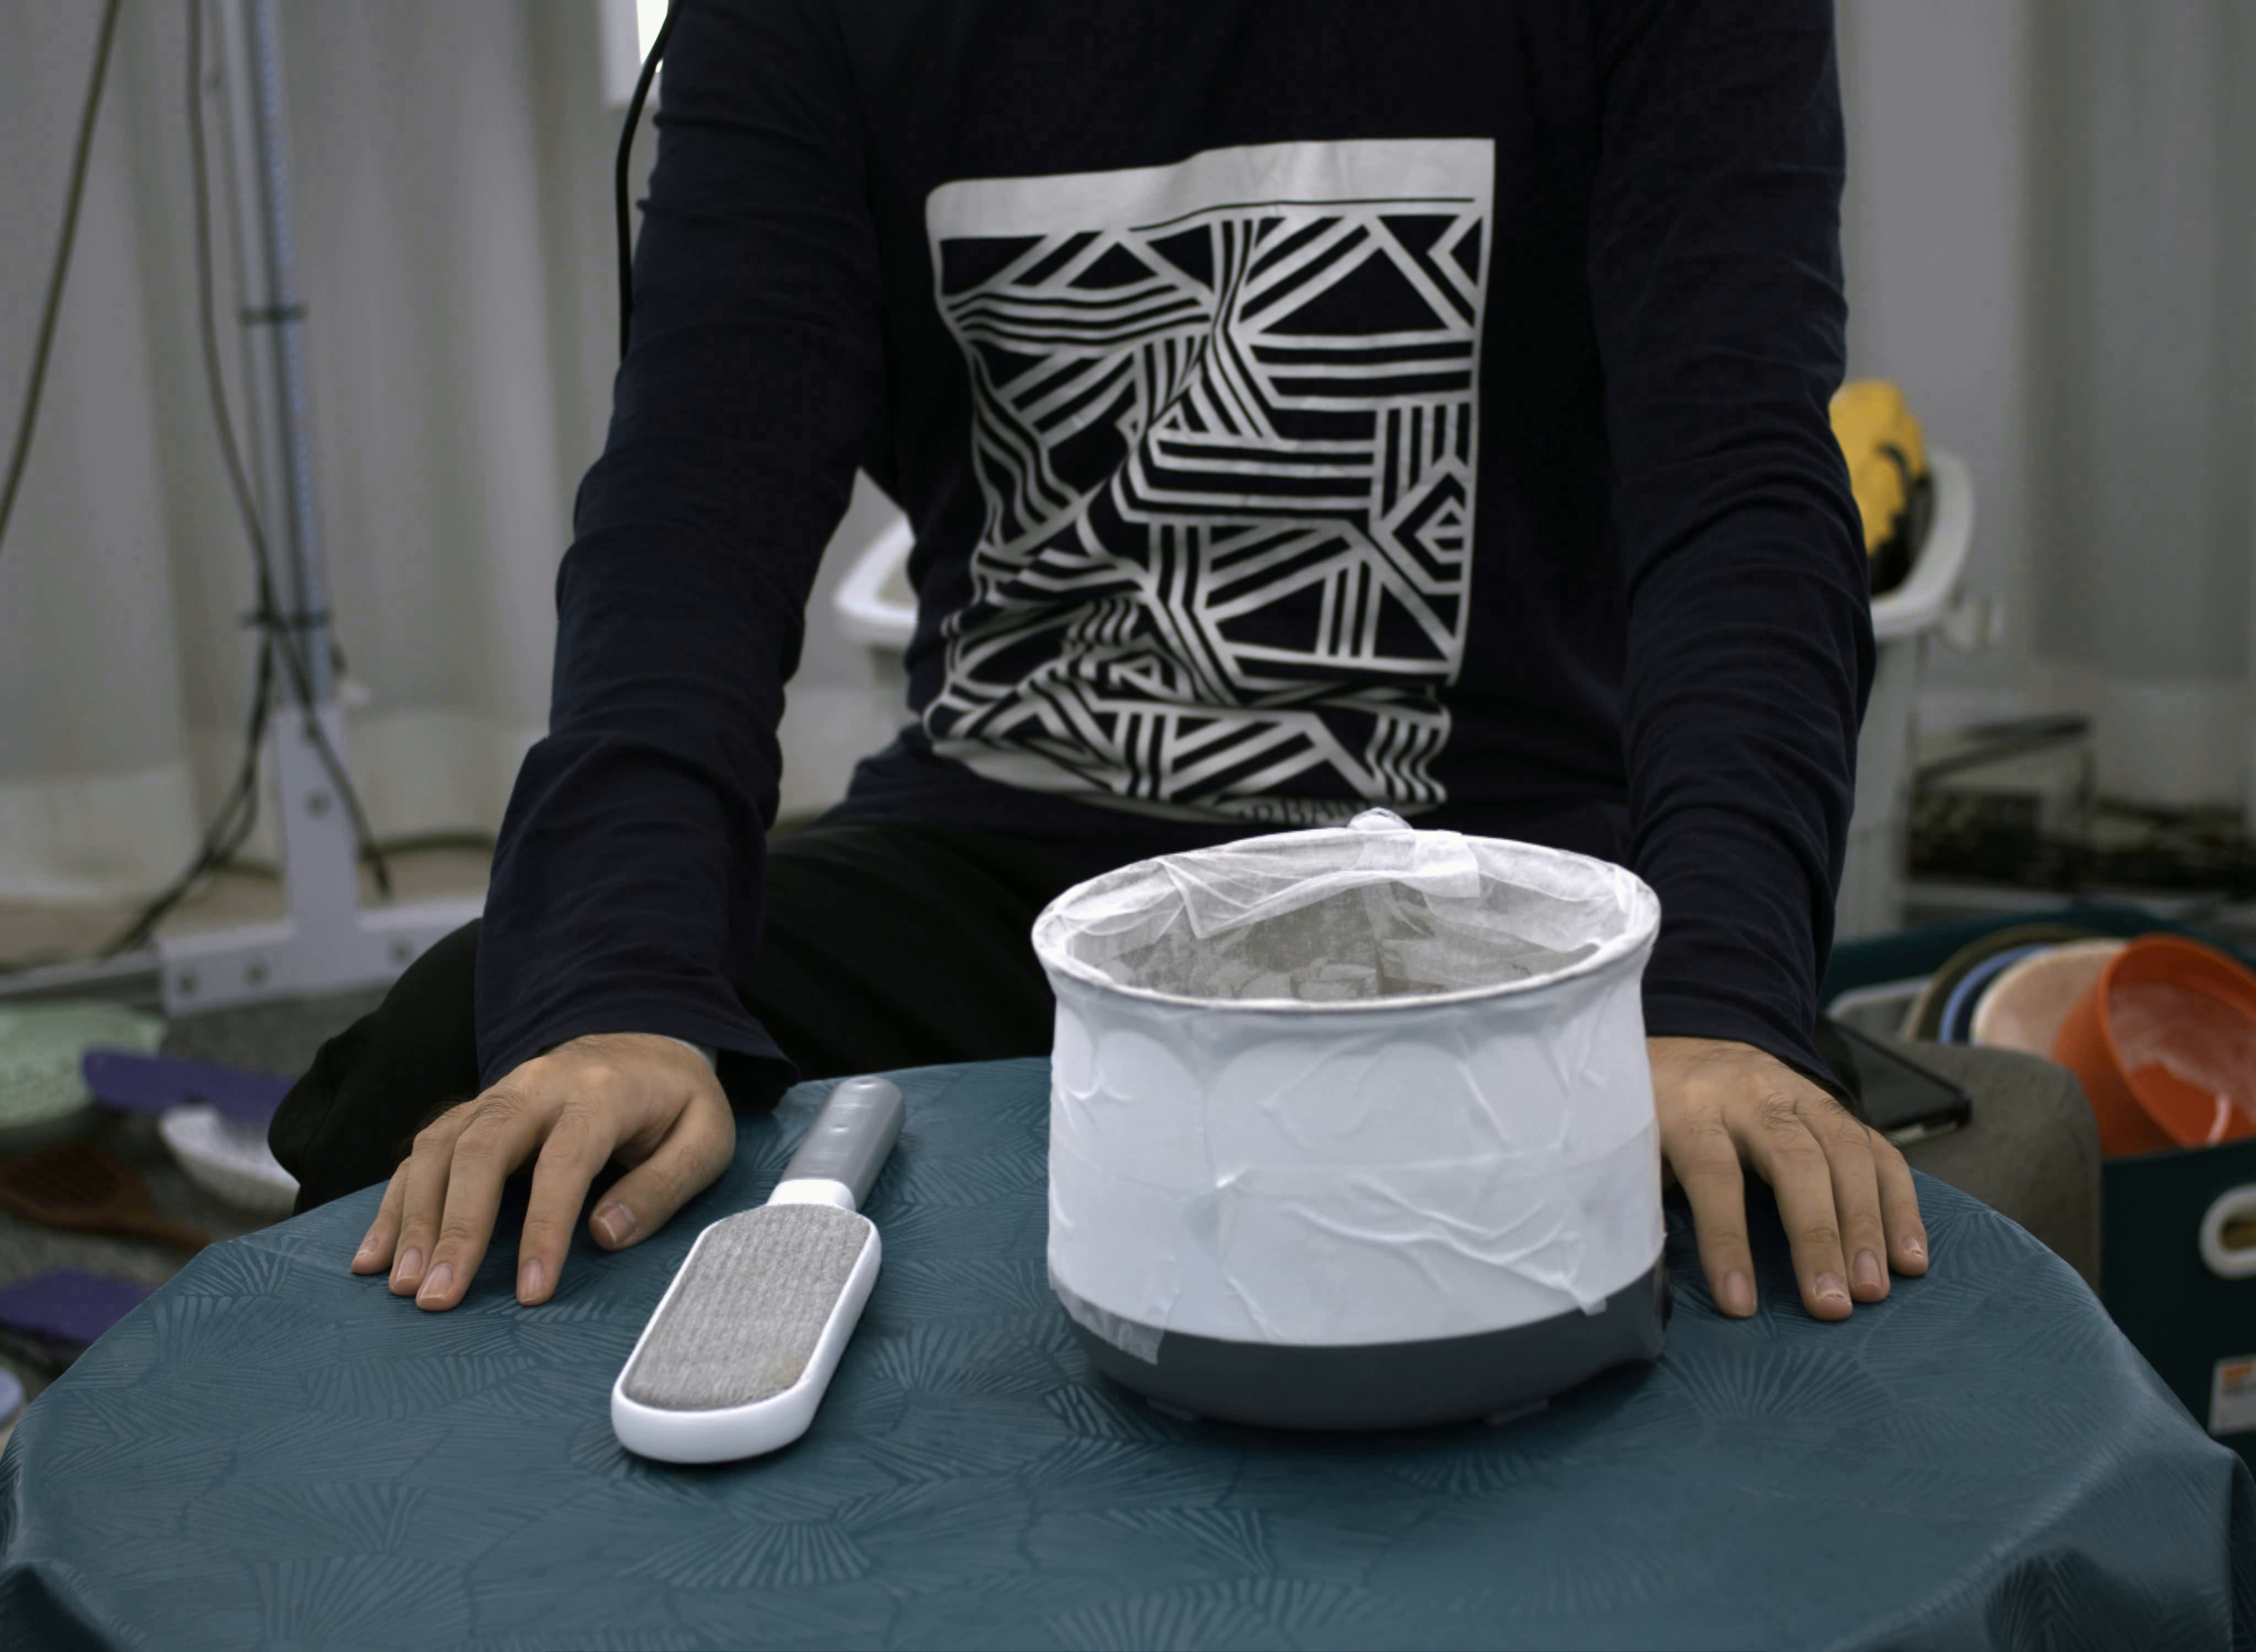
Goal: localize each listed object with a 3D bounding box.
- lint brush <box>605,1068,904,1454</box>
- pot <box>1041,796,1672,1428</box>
[{"bbox_3d":[-0.101,0.126,1.641,0.060,0.021,0.310,-7,14,9],"label":"lint brush"},{"bbox_3d":[0.067,0.076,1.575,0.178,0.136,0.235,2,15,7],"label":"pot"}]
